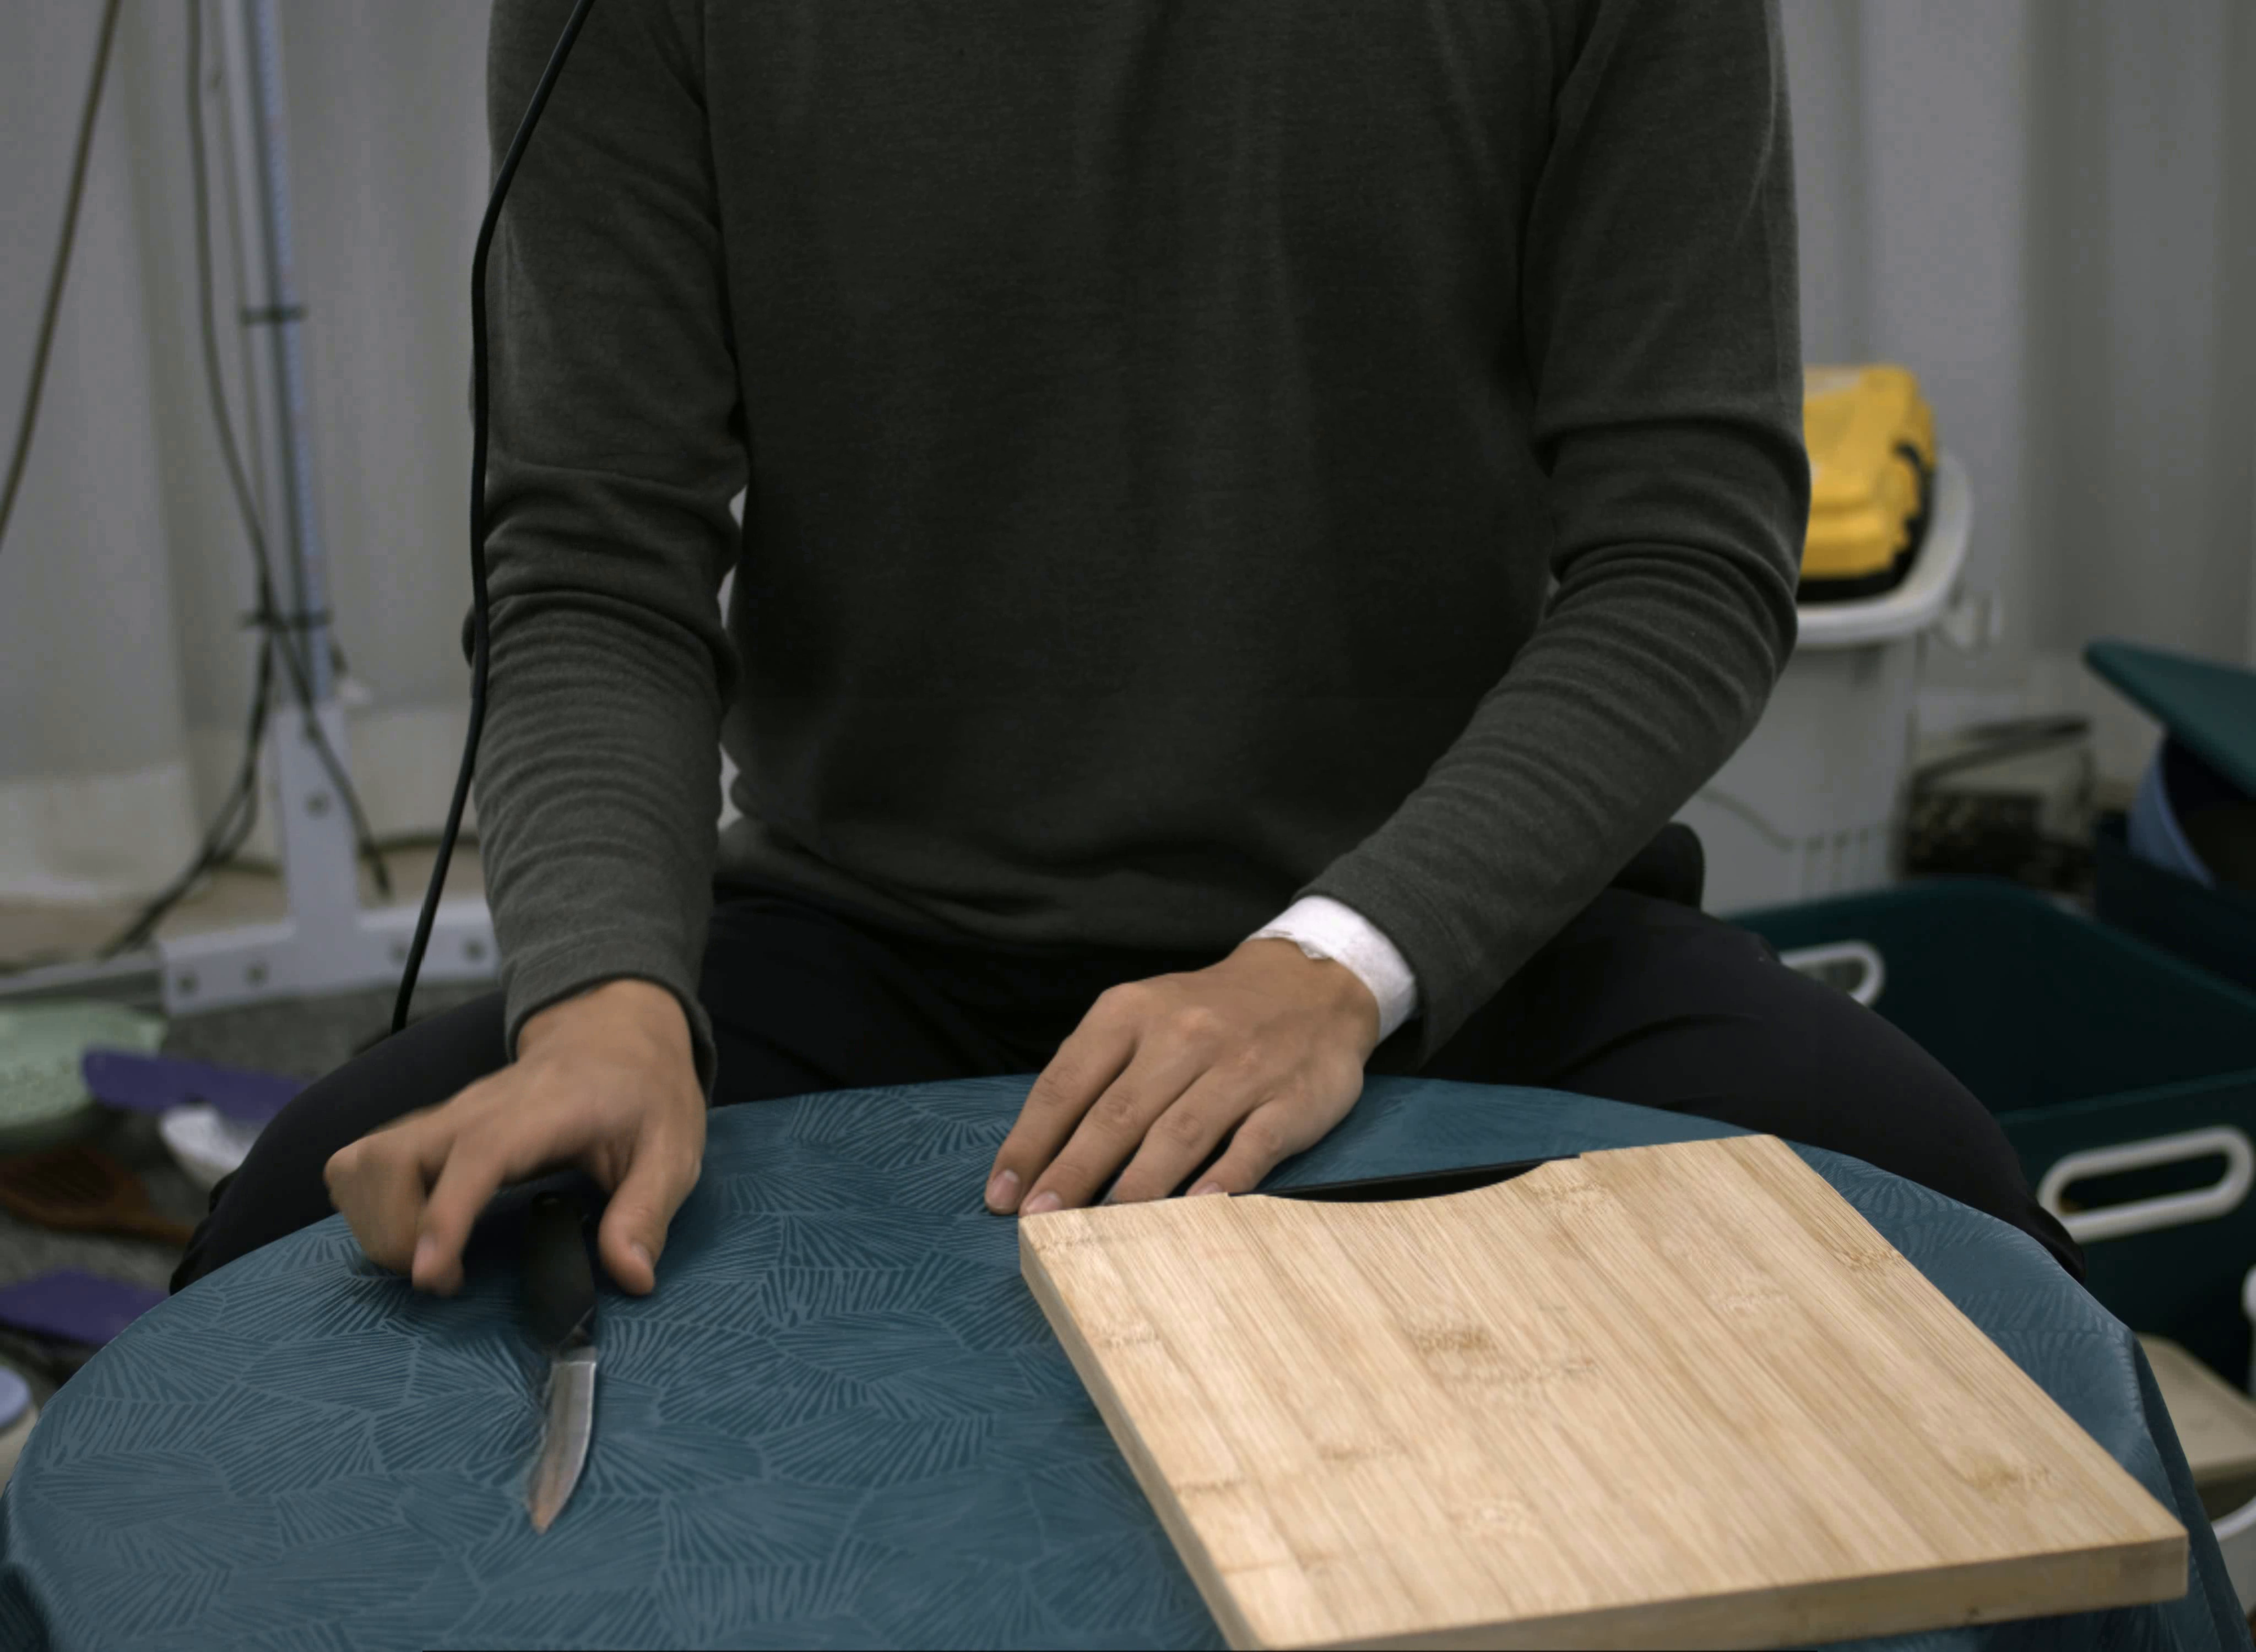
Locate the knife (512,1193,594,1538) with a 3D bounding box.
[{"bbox_3d":[-0.165,0.155,1.575,0.024,0.016,0.240,-9,18,-3],"label":"knife"}]

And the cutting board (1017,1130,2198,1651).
[{"bbox_3d":[0.117,0.155,1.512,0.249,0.023,0.351,-5,15,-11],"label":"cutting board"}]
